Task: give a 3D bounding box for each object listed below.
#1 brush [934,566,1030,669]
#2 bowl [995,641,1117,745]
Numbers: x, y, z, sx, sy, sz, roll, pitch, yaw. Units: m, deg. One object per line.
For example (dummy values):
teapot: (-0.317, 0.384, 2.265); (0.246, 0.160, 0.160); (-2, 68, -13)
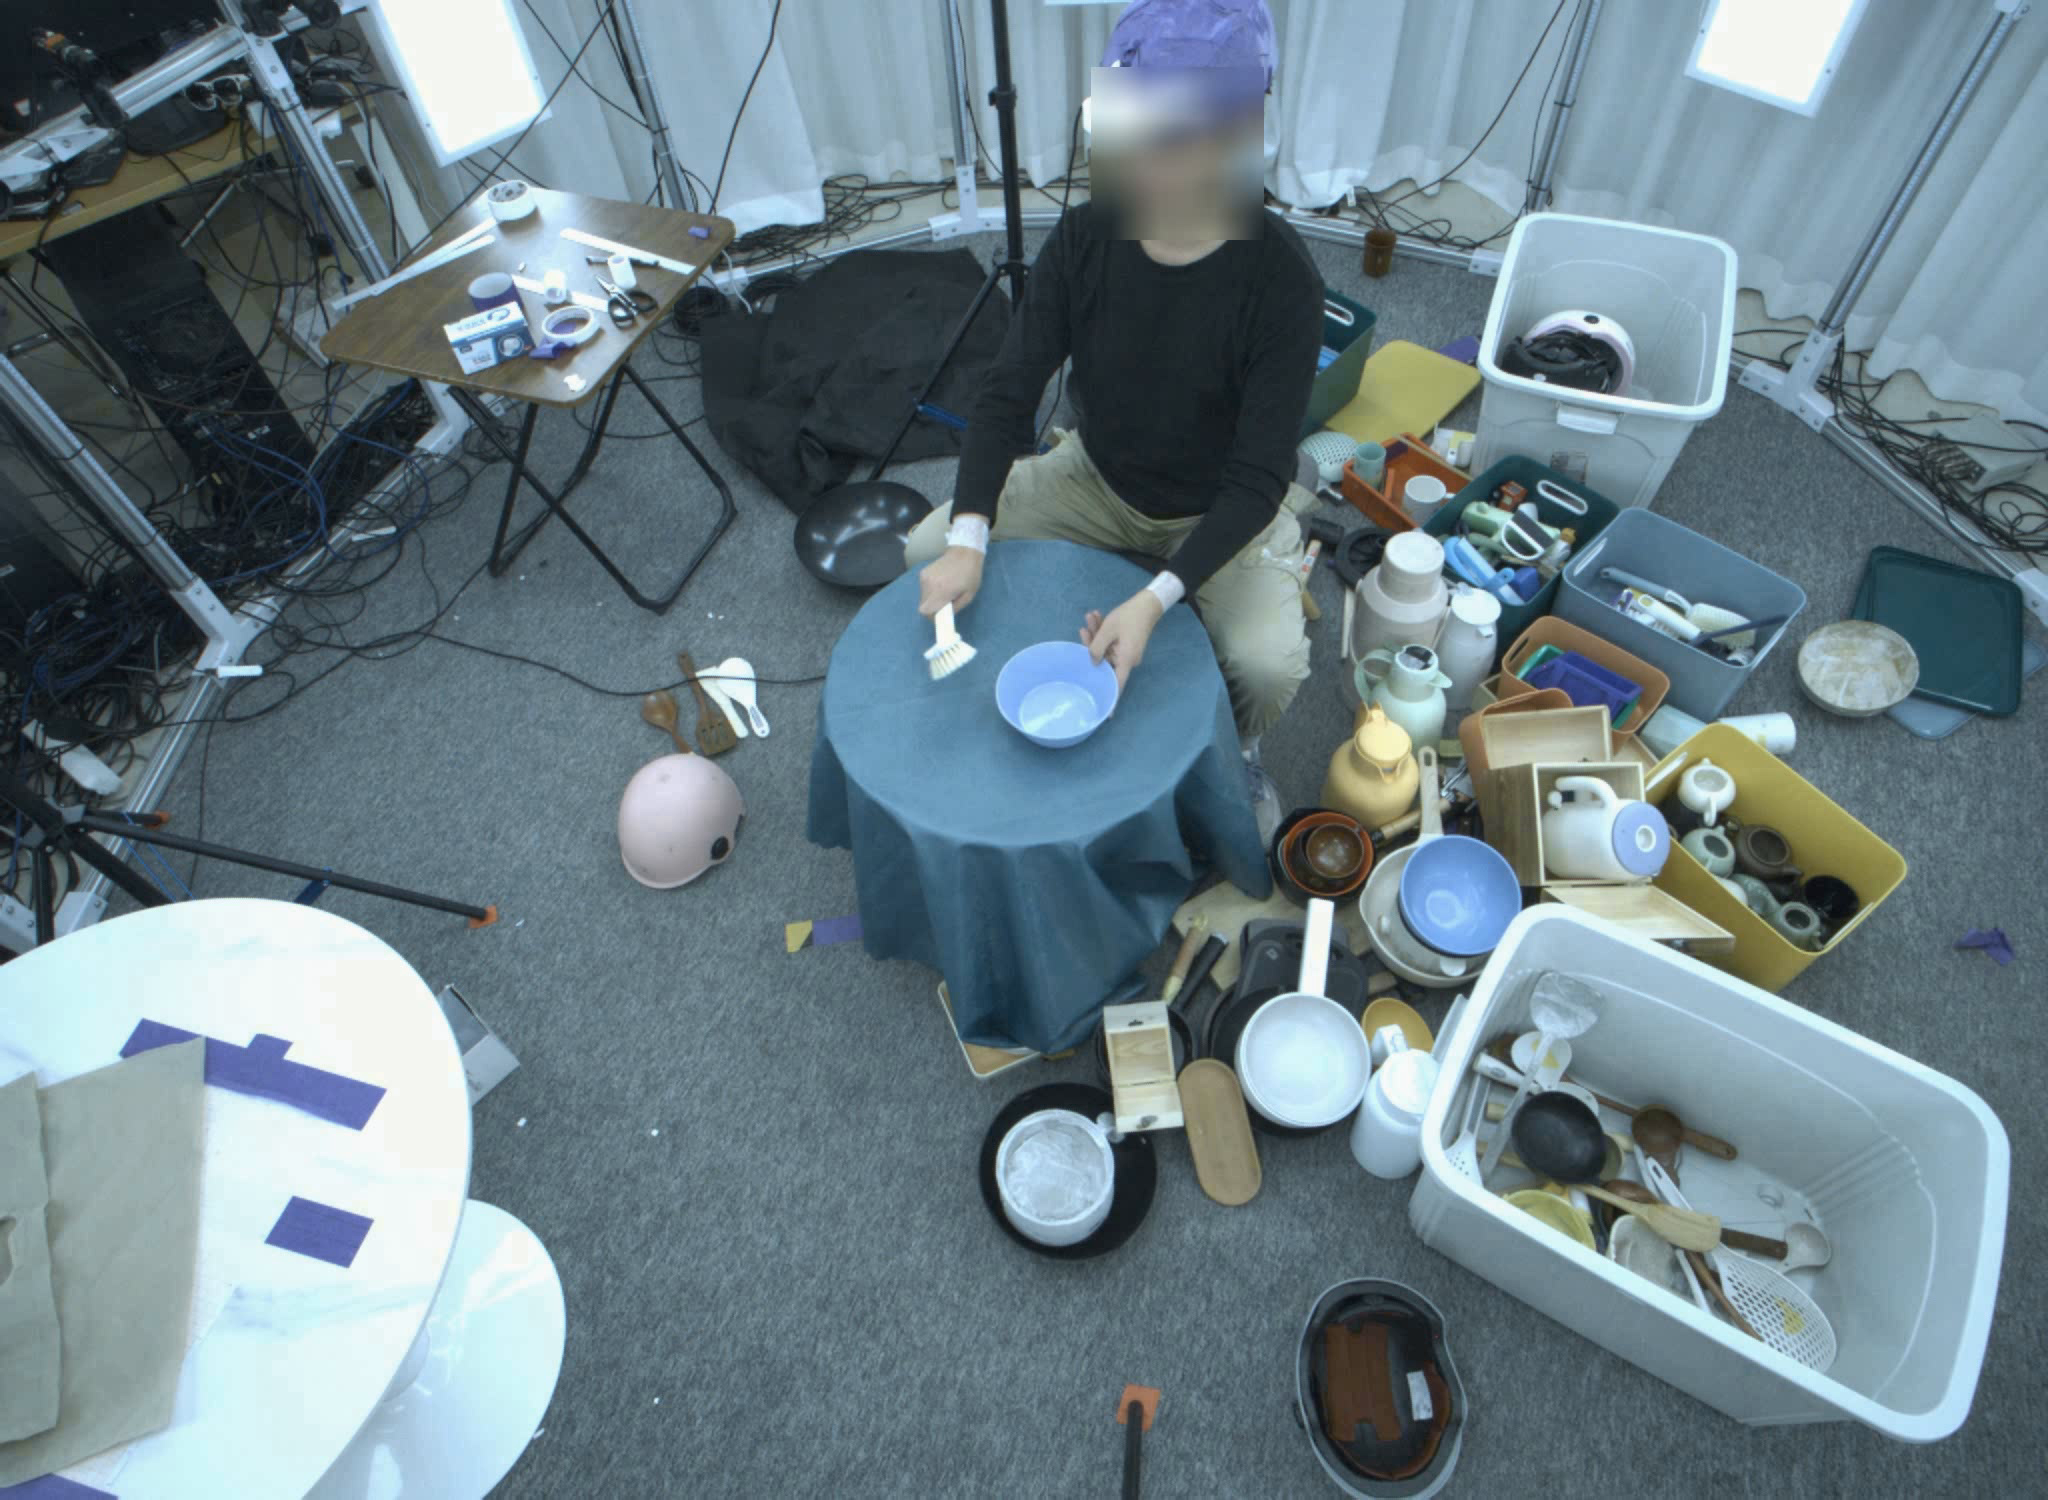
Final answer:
brush: (-0.069, -0.201, 1.841); (0.069, 0.057, 0.260); (-31, 42, -8)
bowl: (0.046, -0.072, 1.792); (0.176, 0.071, 0.174); (0, 56, 1)
